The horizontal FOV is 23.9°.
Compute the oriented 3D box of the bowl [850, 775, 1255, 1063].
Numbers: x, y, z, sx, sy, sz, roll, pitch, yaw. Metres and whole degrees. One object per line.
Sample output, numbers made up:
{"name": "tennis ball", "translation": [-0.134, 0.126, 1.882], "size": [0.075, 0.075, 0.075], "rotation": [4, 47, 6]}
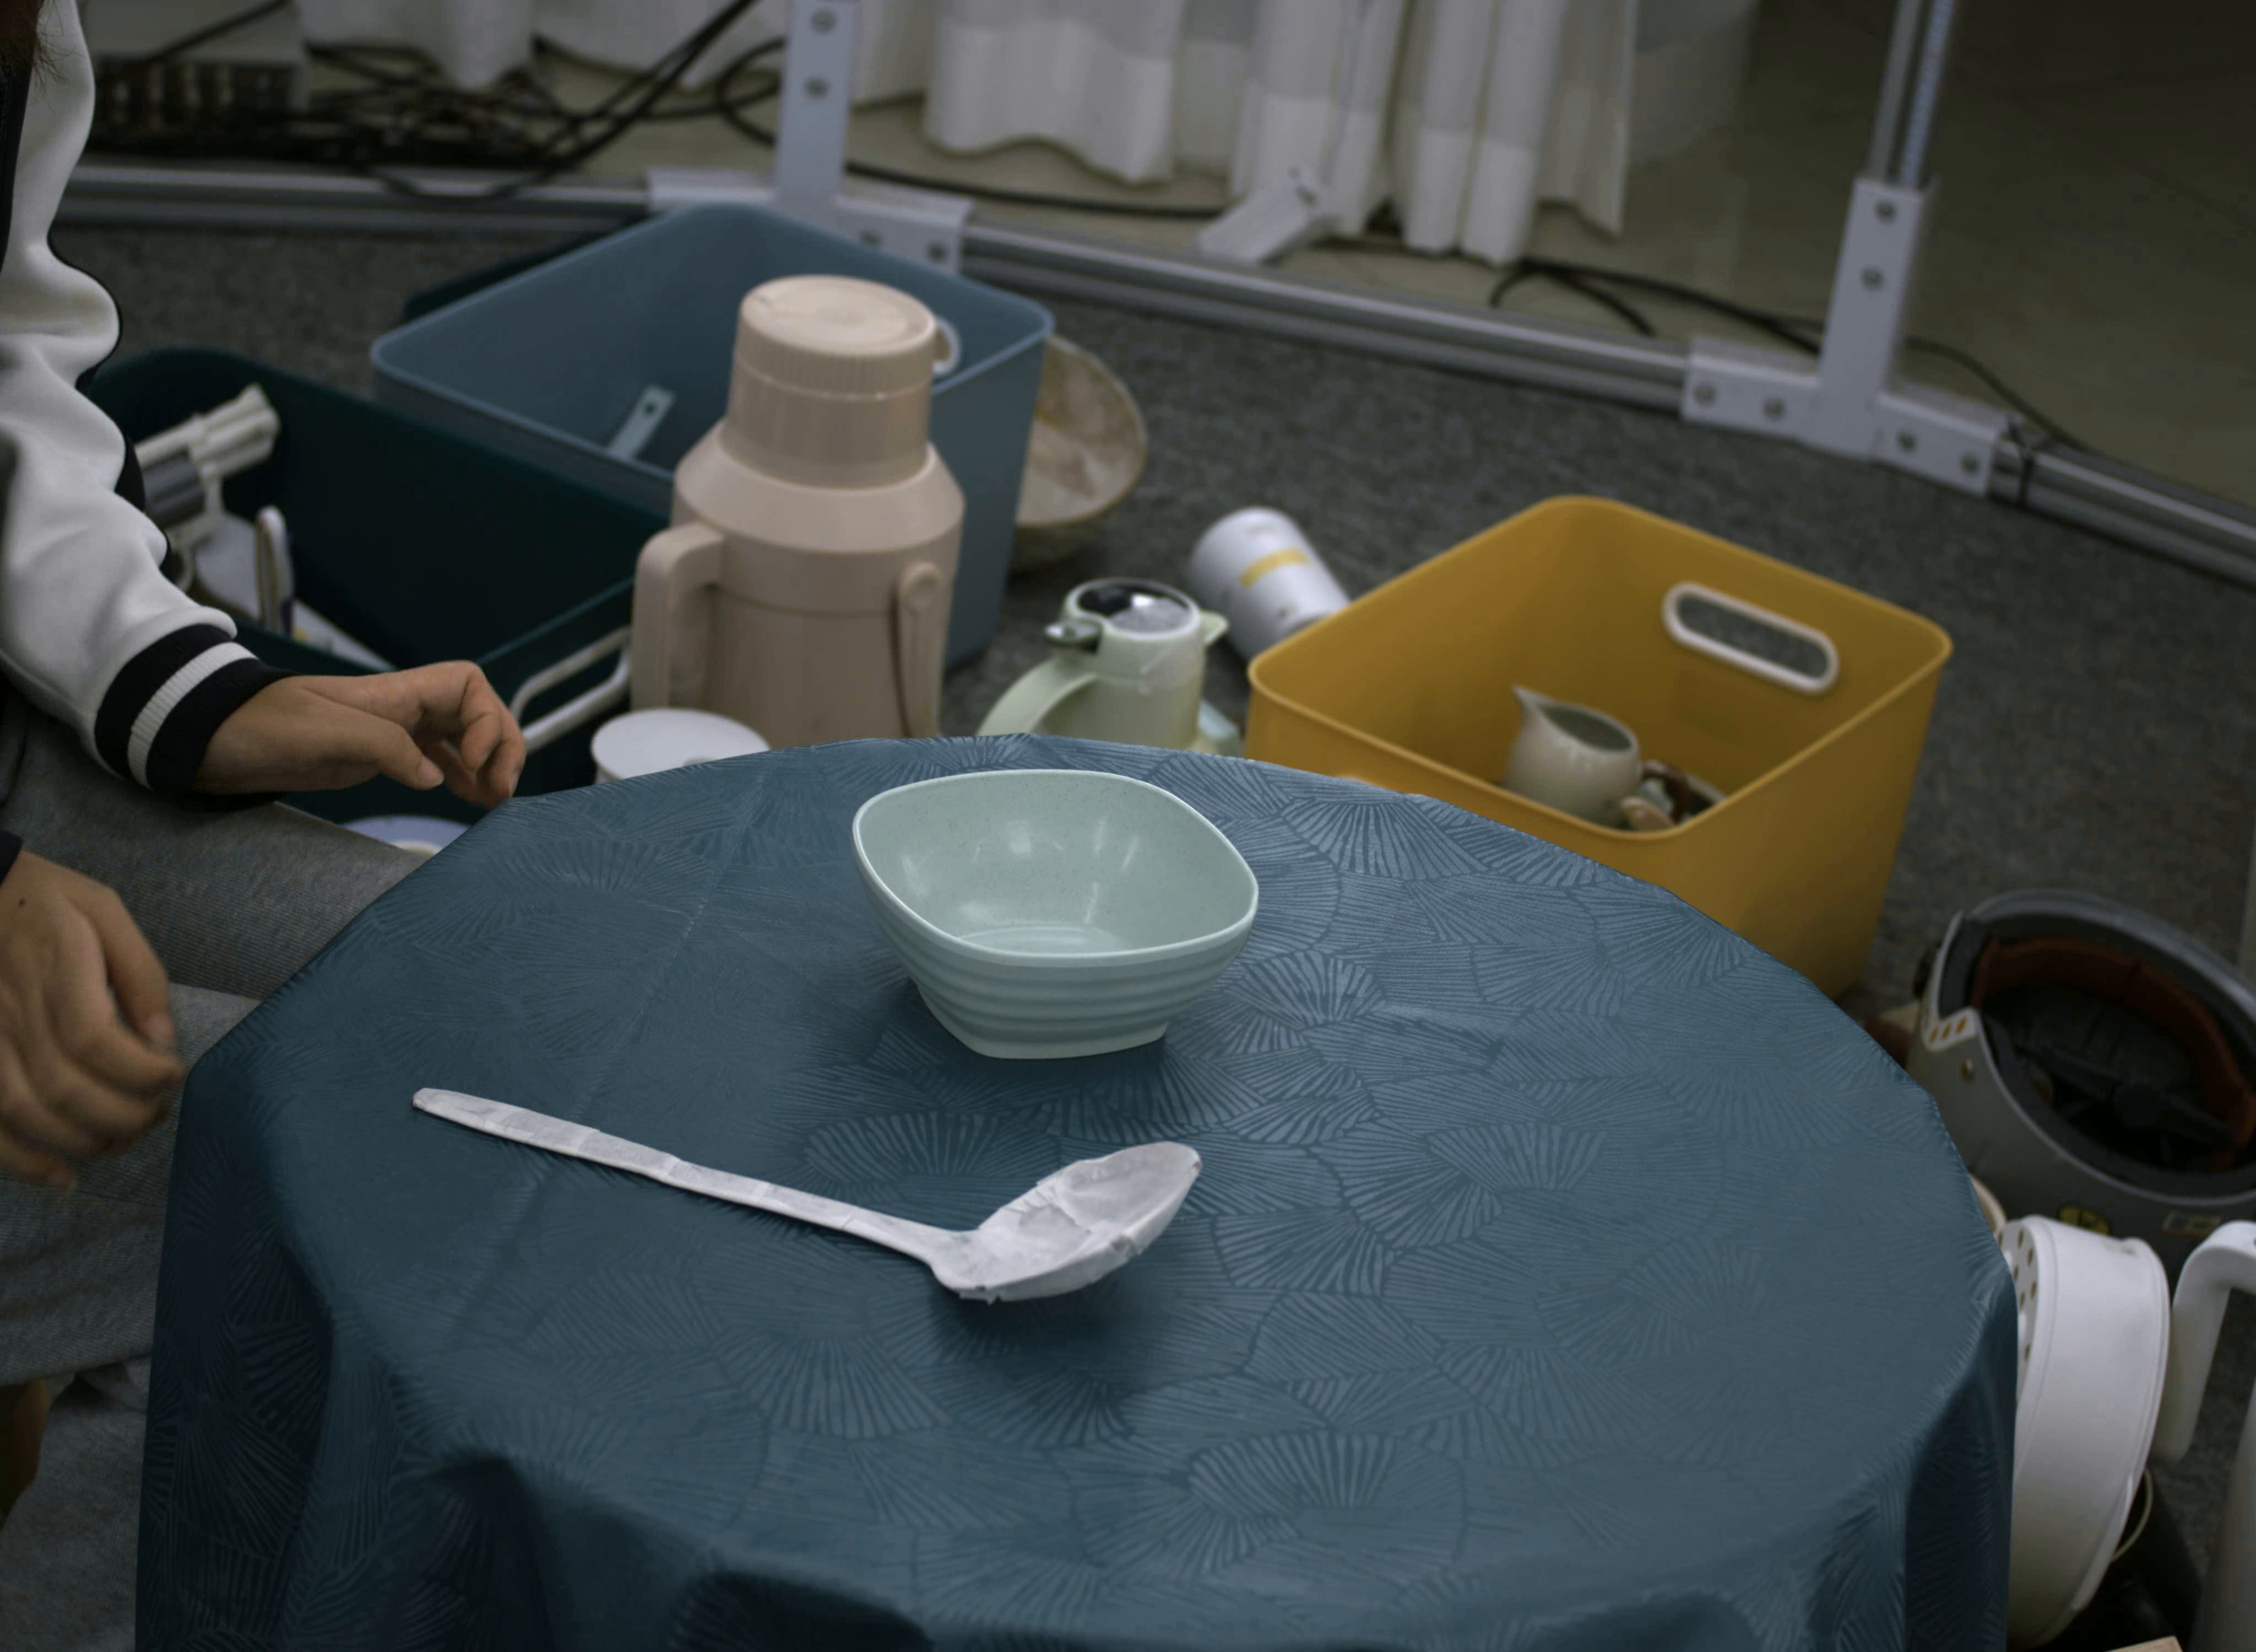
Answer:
{"name": "bowl", "translation": [-0.030, 0.039, 1.903], "size": [0.151, 0.058, 0.152], "rotation": [5, 27, -3]}

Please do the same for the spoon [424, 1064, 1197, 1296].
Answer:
{"name": "spoon", "translation": [-0.109, 0.099, 1.764], "size": [0.278, 0.059, 0.100], "rotation": [17, 24, 20]}
